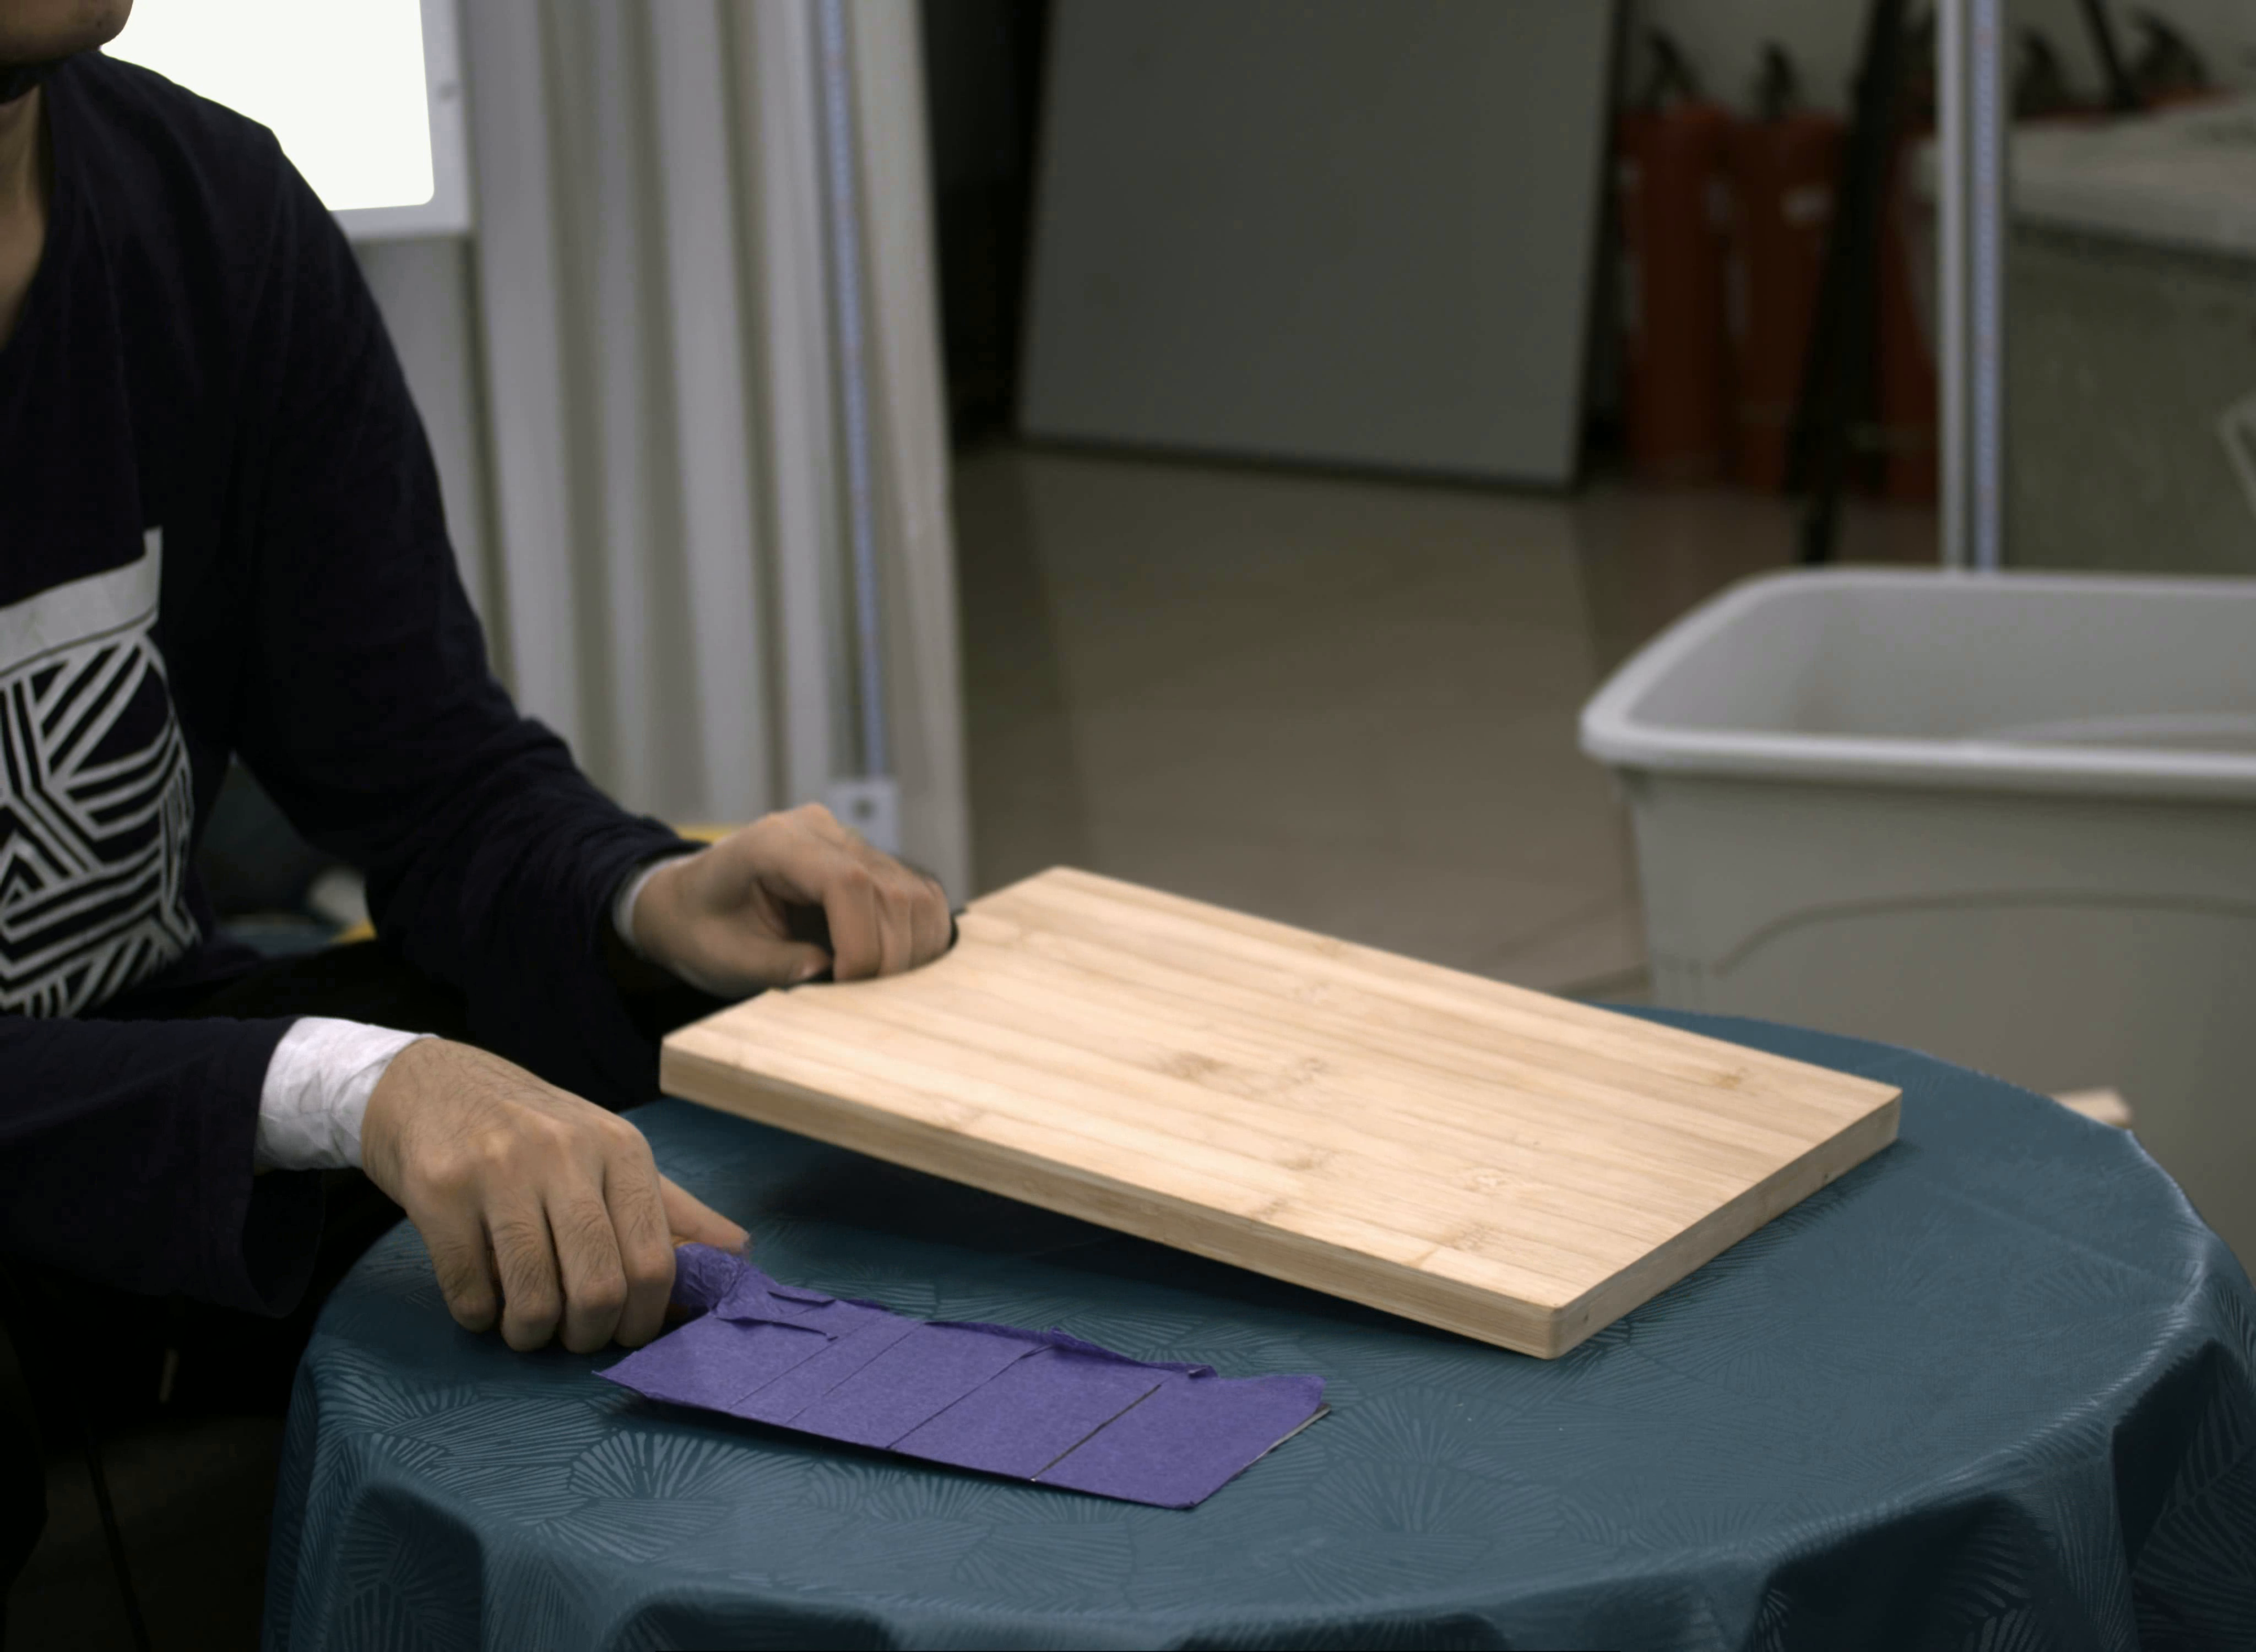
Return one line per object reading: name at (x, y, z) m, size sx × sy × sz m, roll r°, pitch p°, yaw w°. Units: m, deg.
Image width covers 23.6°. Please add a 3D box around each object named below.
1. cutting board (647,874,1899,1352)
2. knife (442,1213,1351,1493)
cutting board at (0.048, 0.088, 1.771) m, size 0.350 × 0.024 × 0.246 m, roll 13°, pitch 20°, yaw 32°
knife at (-0.091, 0.155, 1.604) m, size 0.317 × 0.032 × 0.102 m, roll 5°, pitch 16°, yaw 32°
